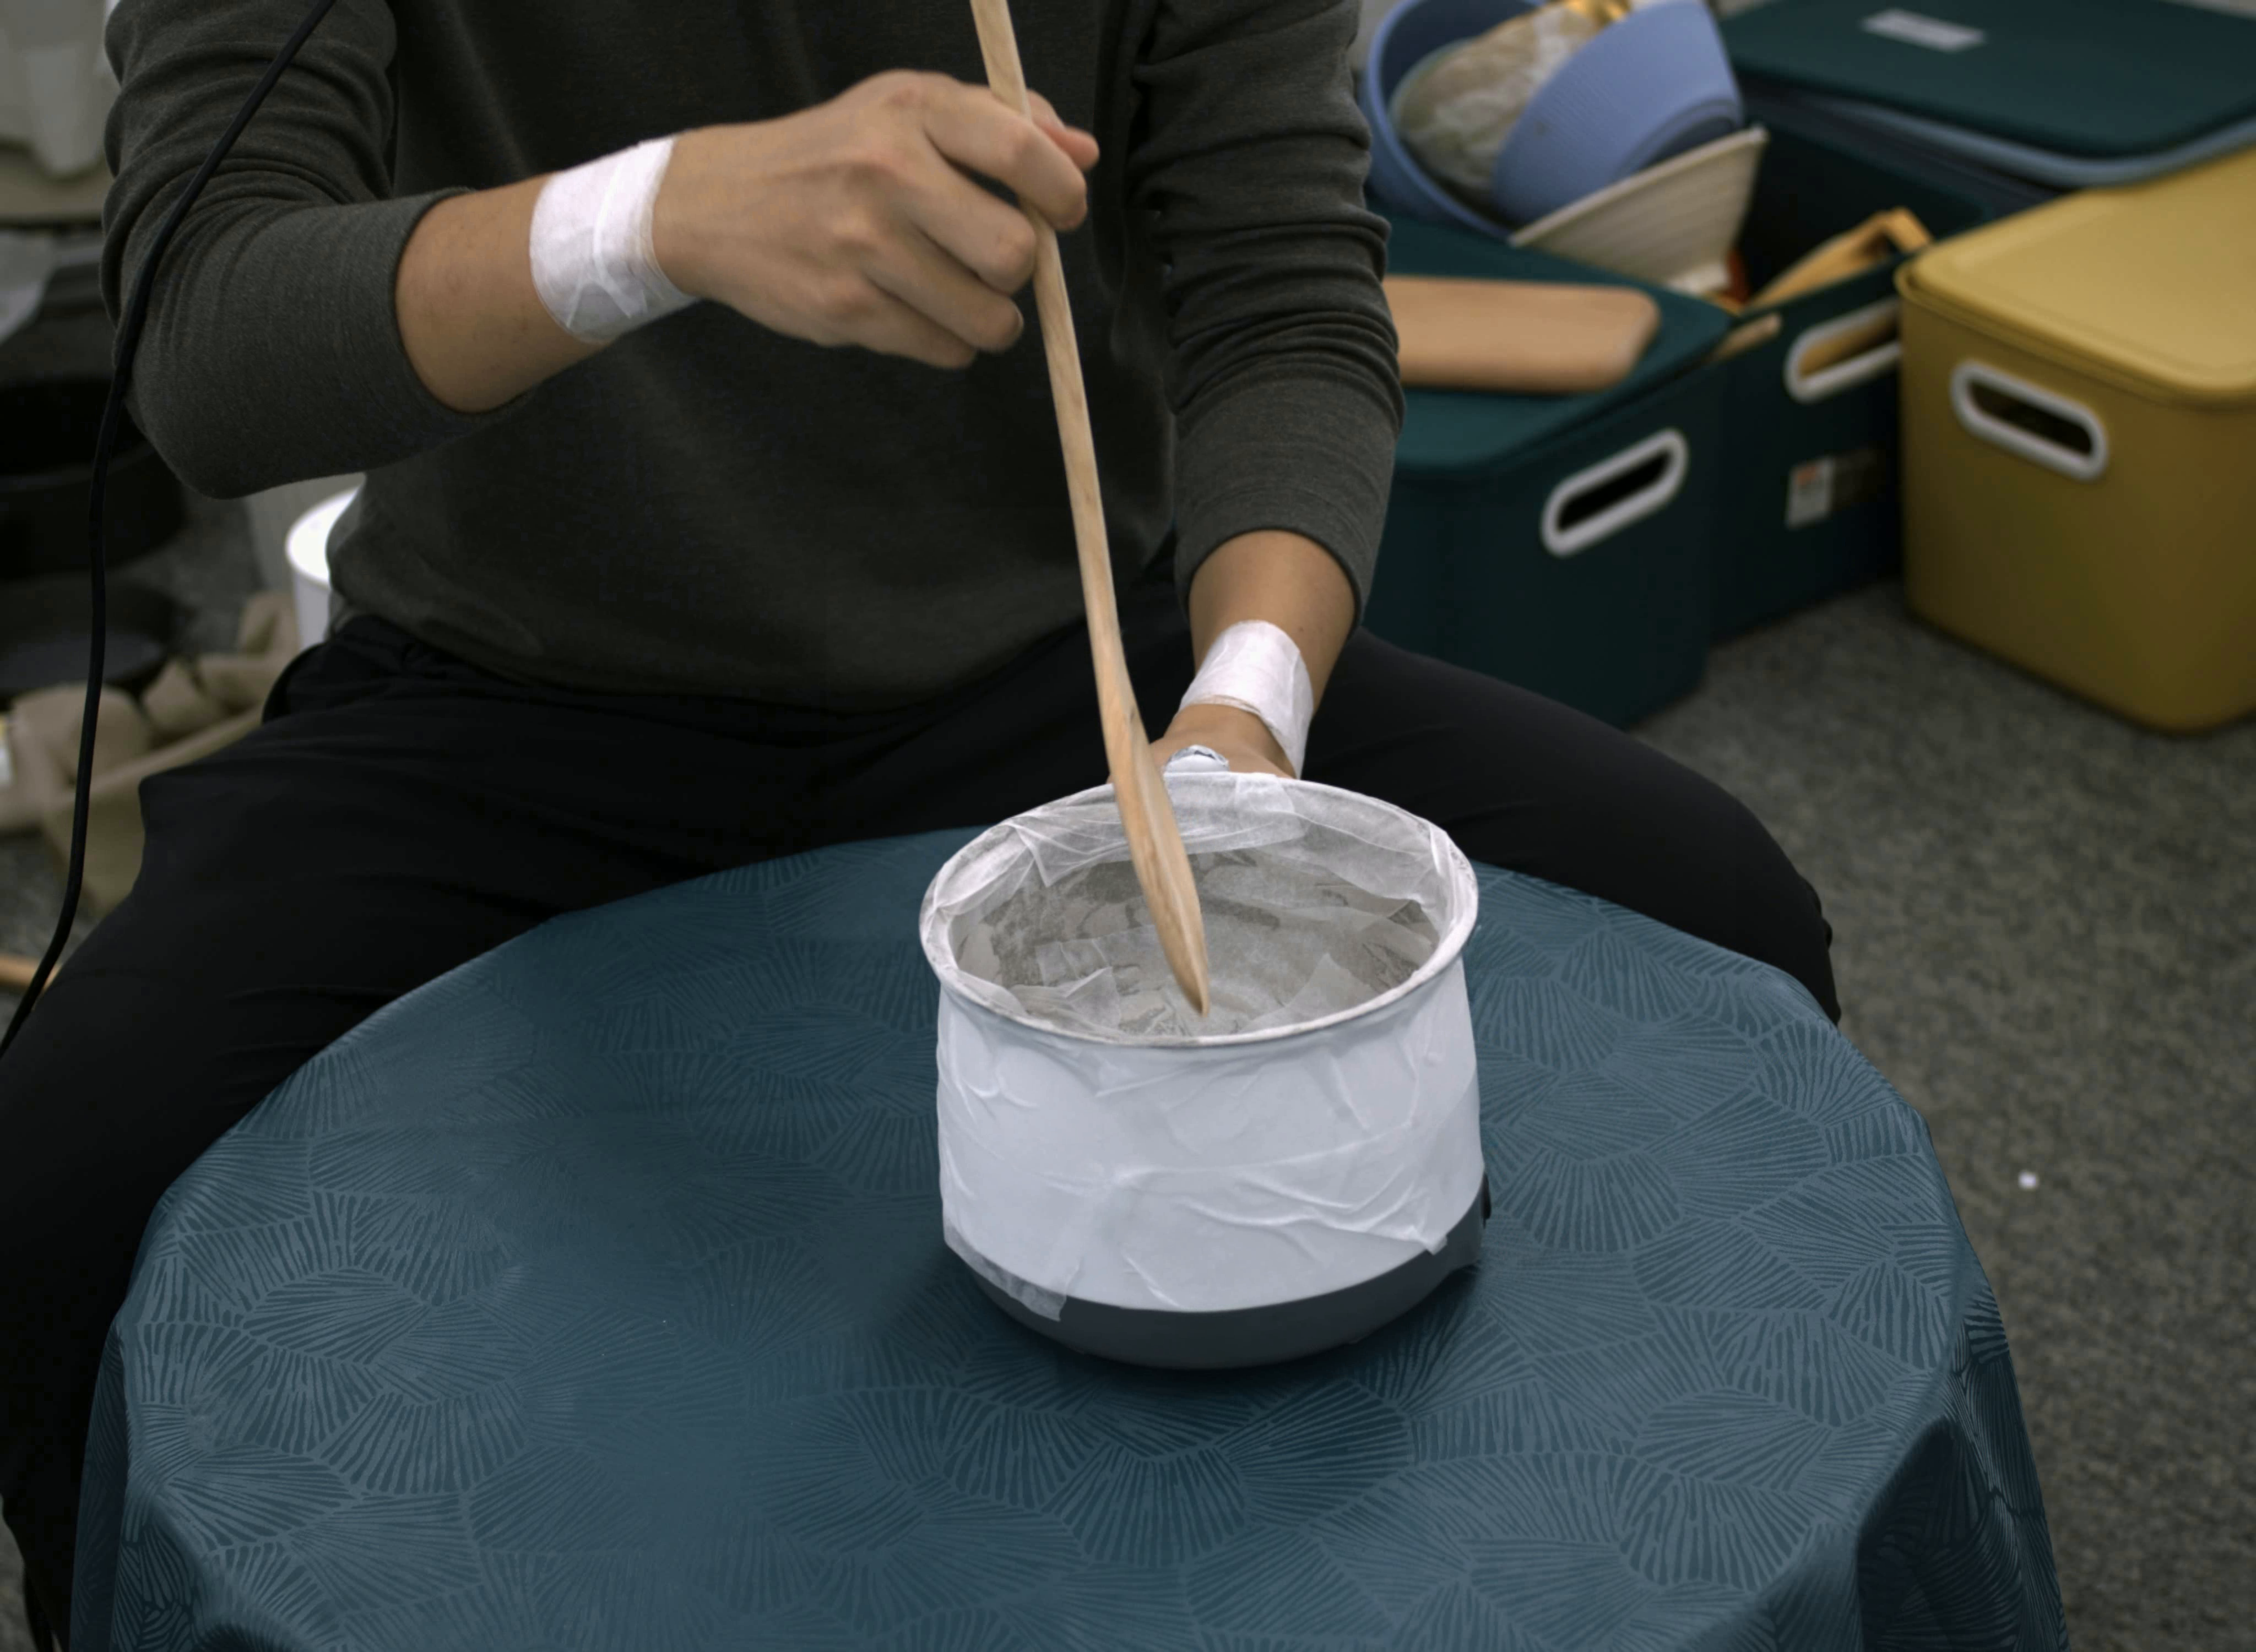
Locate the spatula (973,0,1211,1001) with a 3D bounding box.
[{"bbox_3d":[-0.019,-0.136,1.685,0.018,0.390,0.096,-11,9,2],"label":"spatula"}]

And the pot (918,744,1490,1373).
[{"bbox_3d":[0.025,0.067,1.818,0.178,0.135,0.237,-3,27,0],"label":"pot"}]
